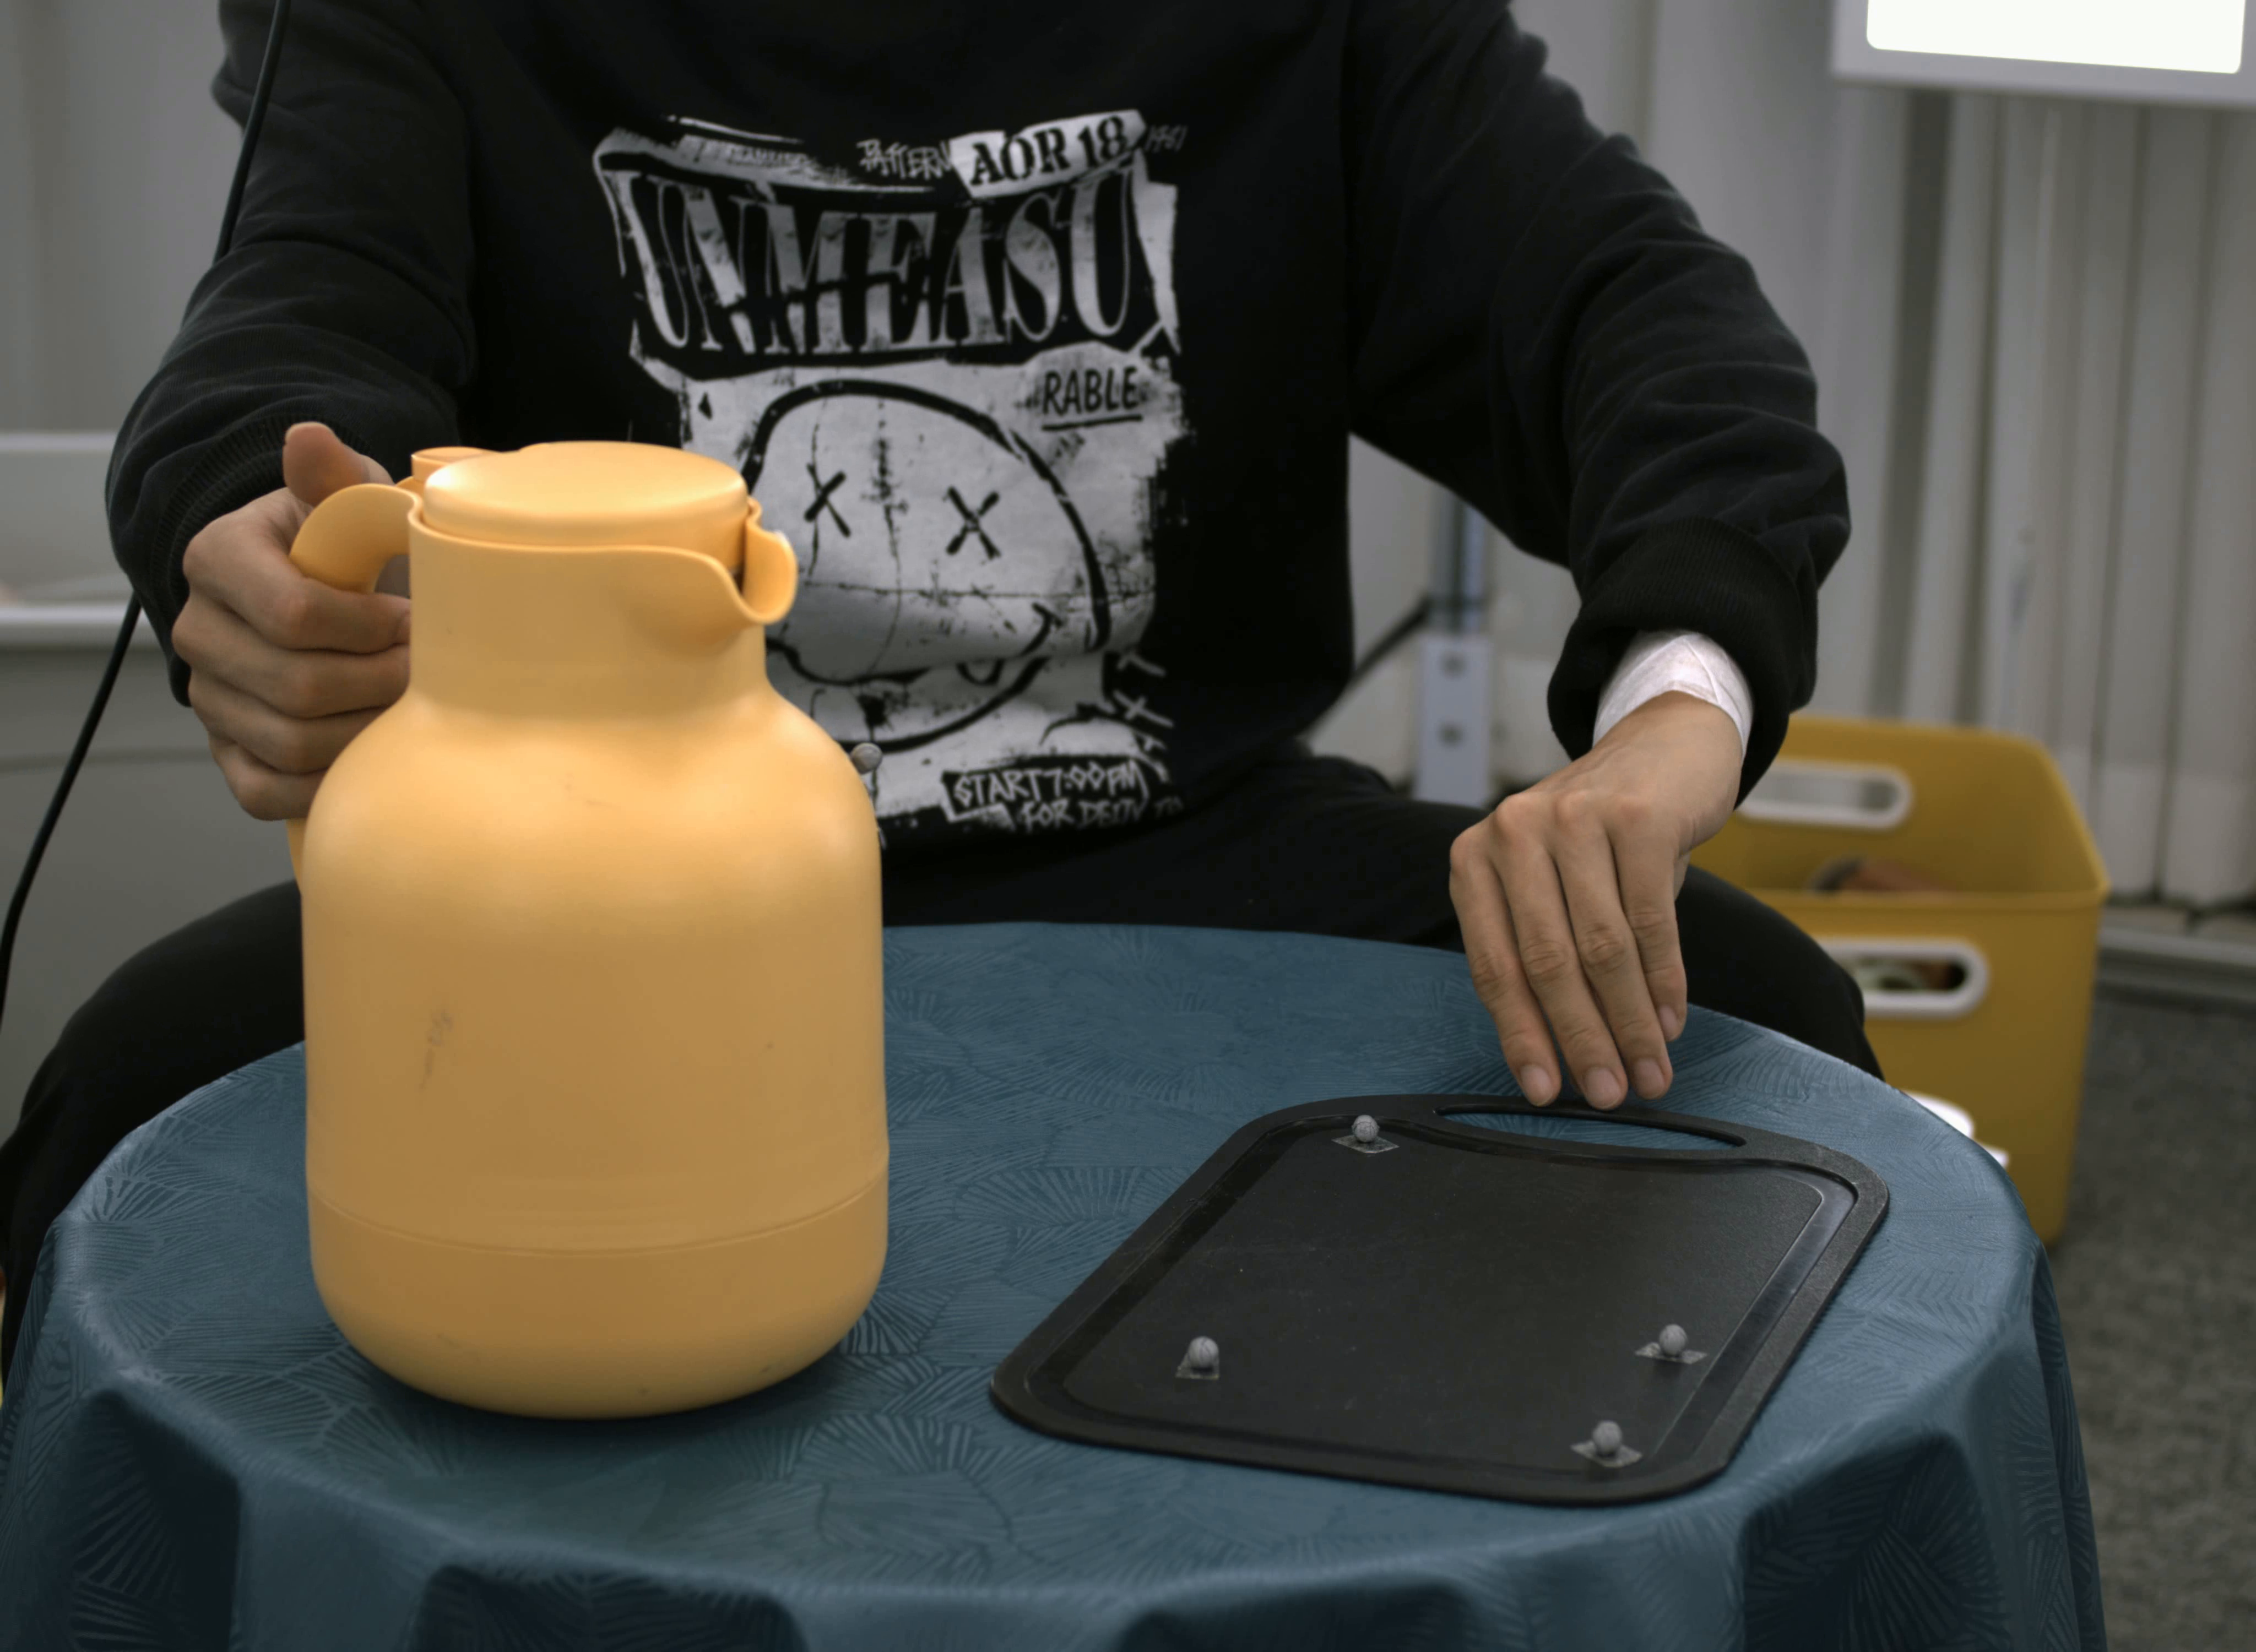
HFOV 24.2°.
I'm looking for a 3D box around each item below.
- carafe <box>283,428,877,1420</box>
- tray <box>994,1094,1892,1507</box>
[{"bbox_3d":[-0.162,0.019,1.465,0.199,0.262,0.164,17,21,42],"label":"carafe"},{"bbox_3d":[0.101,0.130,1.551,0.209,0.010,0.325,6,16,18],"label":"tray"}]
